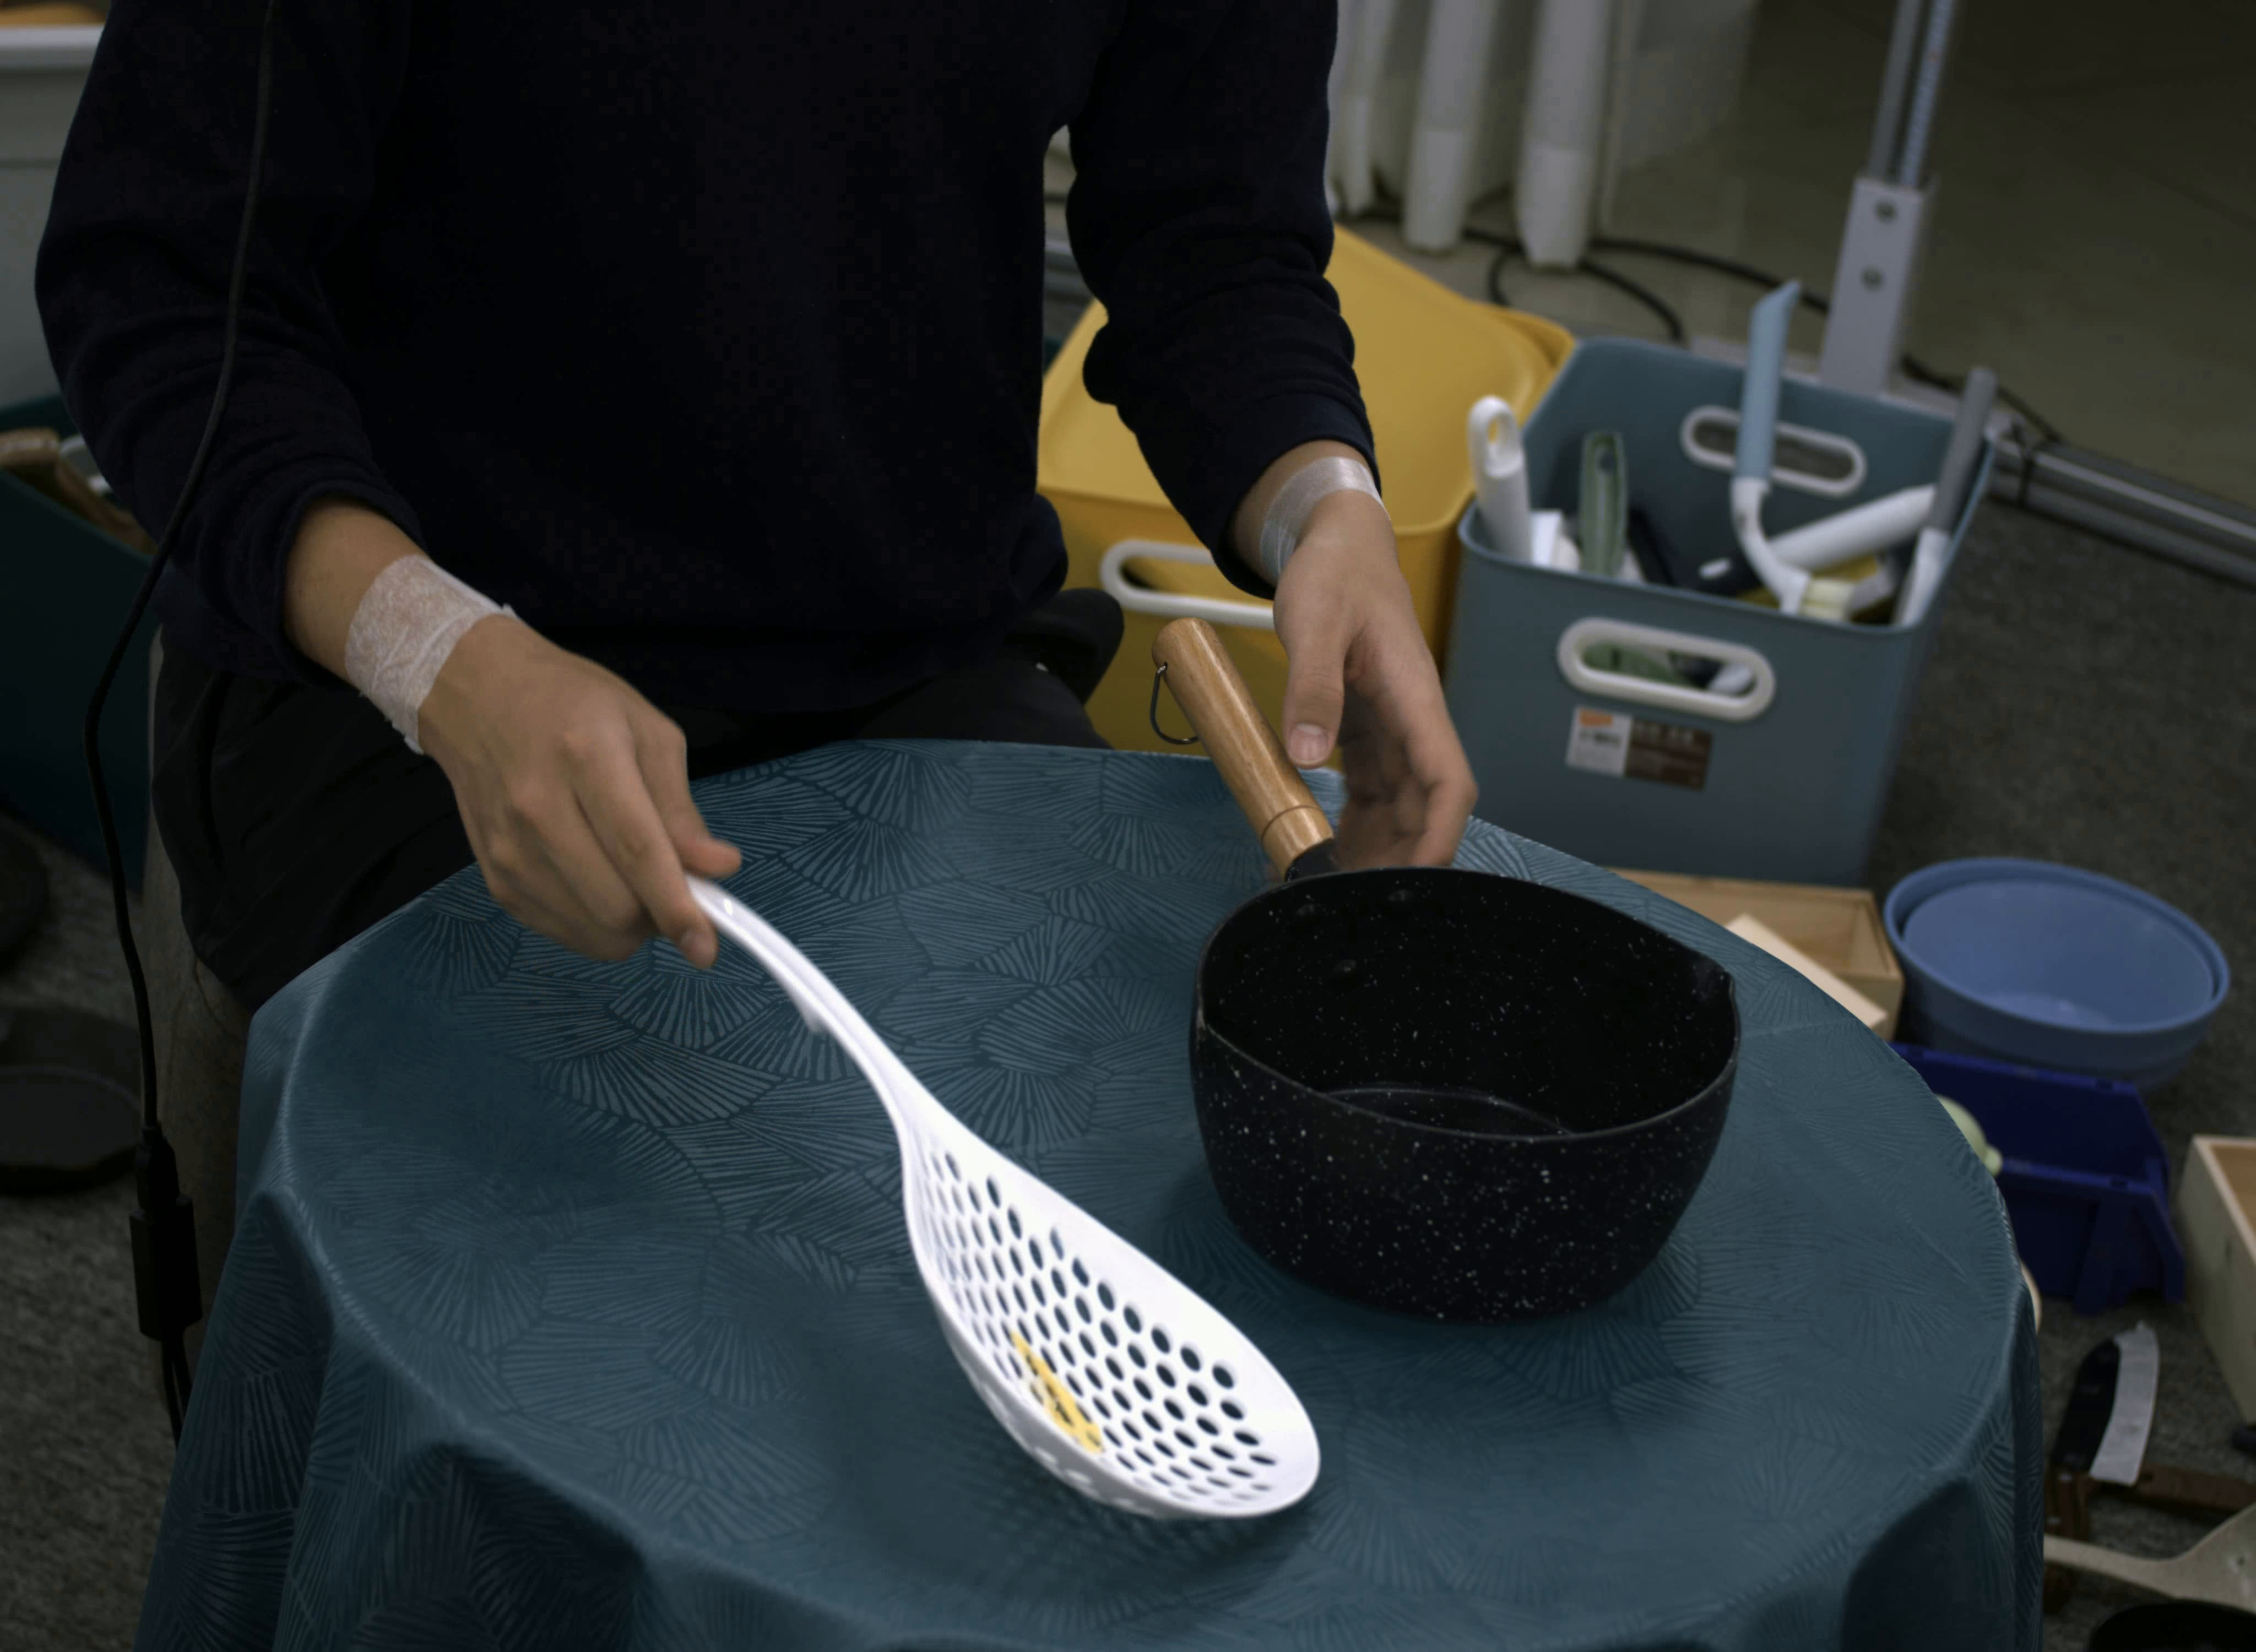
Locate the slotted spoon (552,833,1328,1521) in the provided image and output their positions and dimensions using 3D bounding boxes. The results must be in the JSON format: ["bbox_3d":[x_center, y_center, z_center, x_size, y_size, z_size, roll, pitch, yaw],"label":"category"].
[{"bbox_3d":[-0.072,0.104,1.690,0.136,0.050,0.351,3,40,-52],"label":"slotted spoon"}]

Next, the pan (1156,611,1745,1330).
[{"bbox_3d":[0.079,0.047,1.852,0.206,0.108,0.346,-7,31,-23],"label":"pan"}]
